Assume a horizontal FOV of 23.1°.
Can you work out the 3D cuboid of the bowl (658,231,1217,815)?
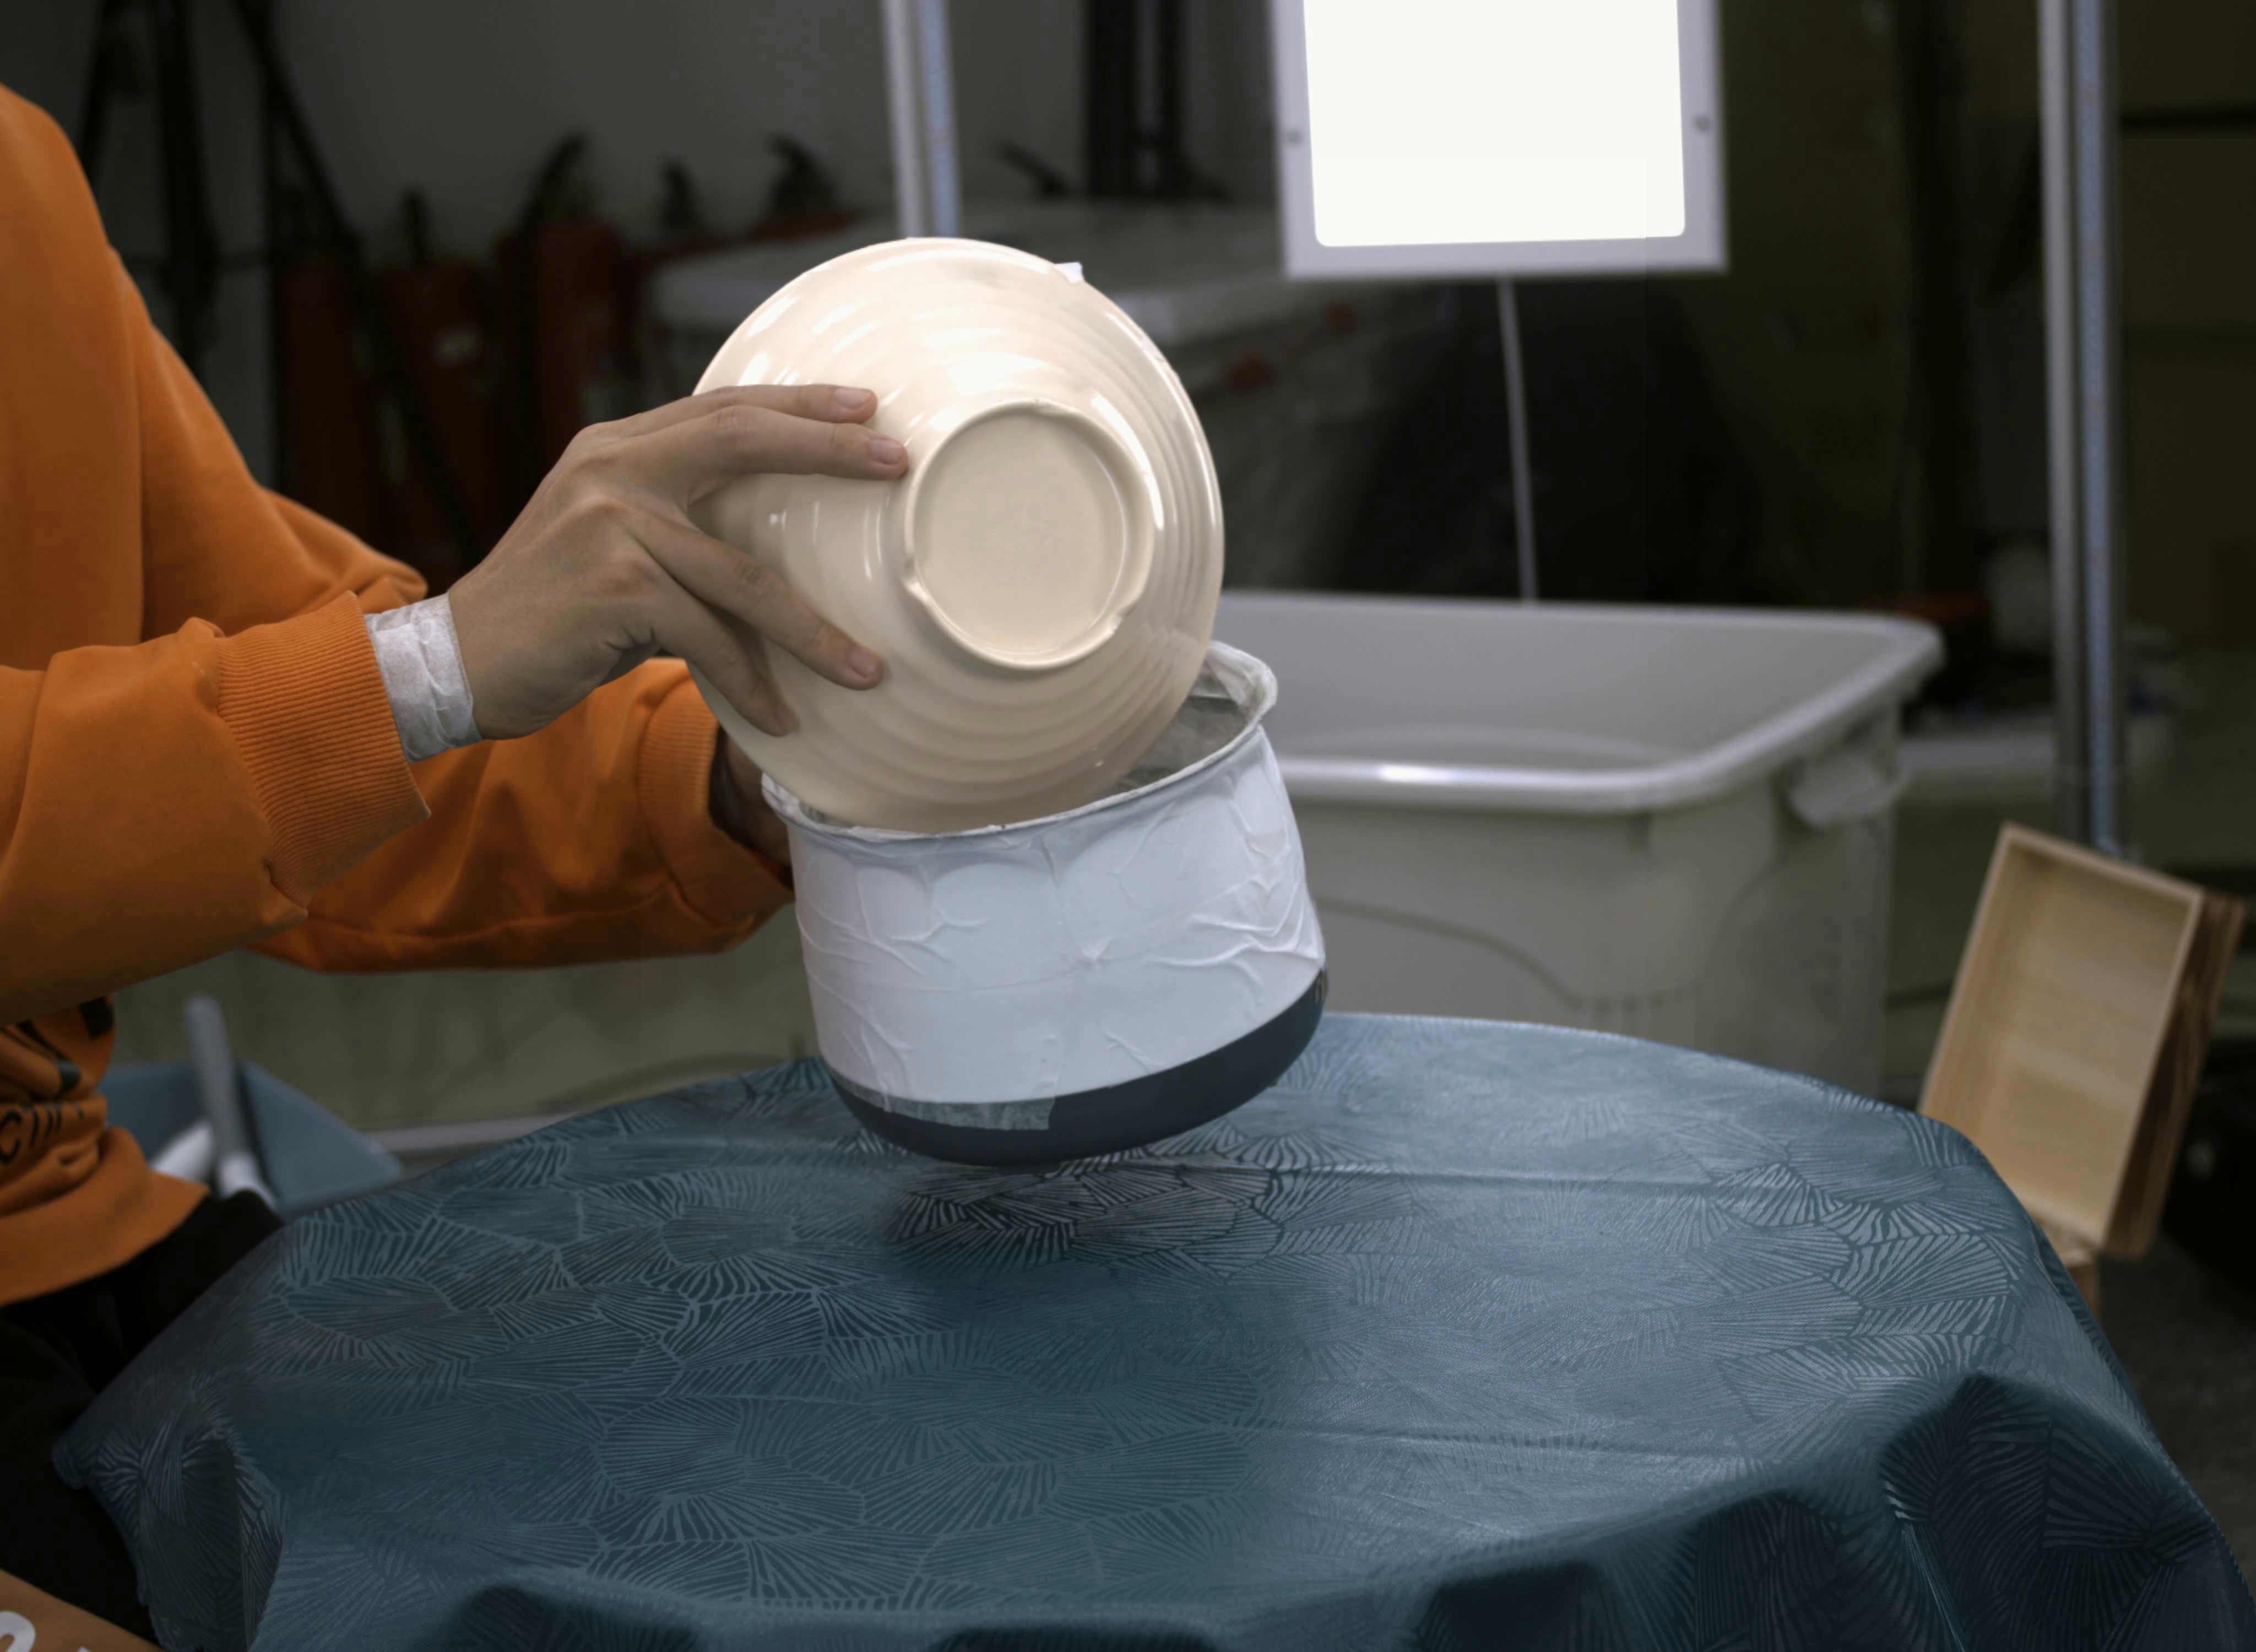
[{"bbox_3d":[-0.046,-0.097,1.800,0.200,0.204,0.079,-11,4,-24],"label":"bowl"}]

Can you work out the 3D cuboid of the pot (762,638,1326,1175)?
[{"bbox_3d":[-0.039,0.020,1.888,0.175,0.137,0.237,-20,22,-23],"label":"pot"}]
